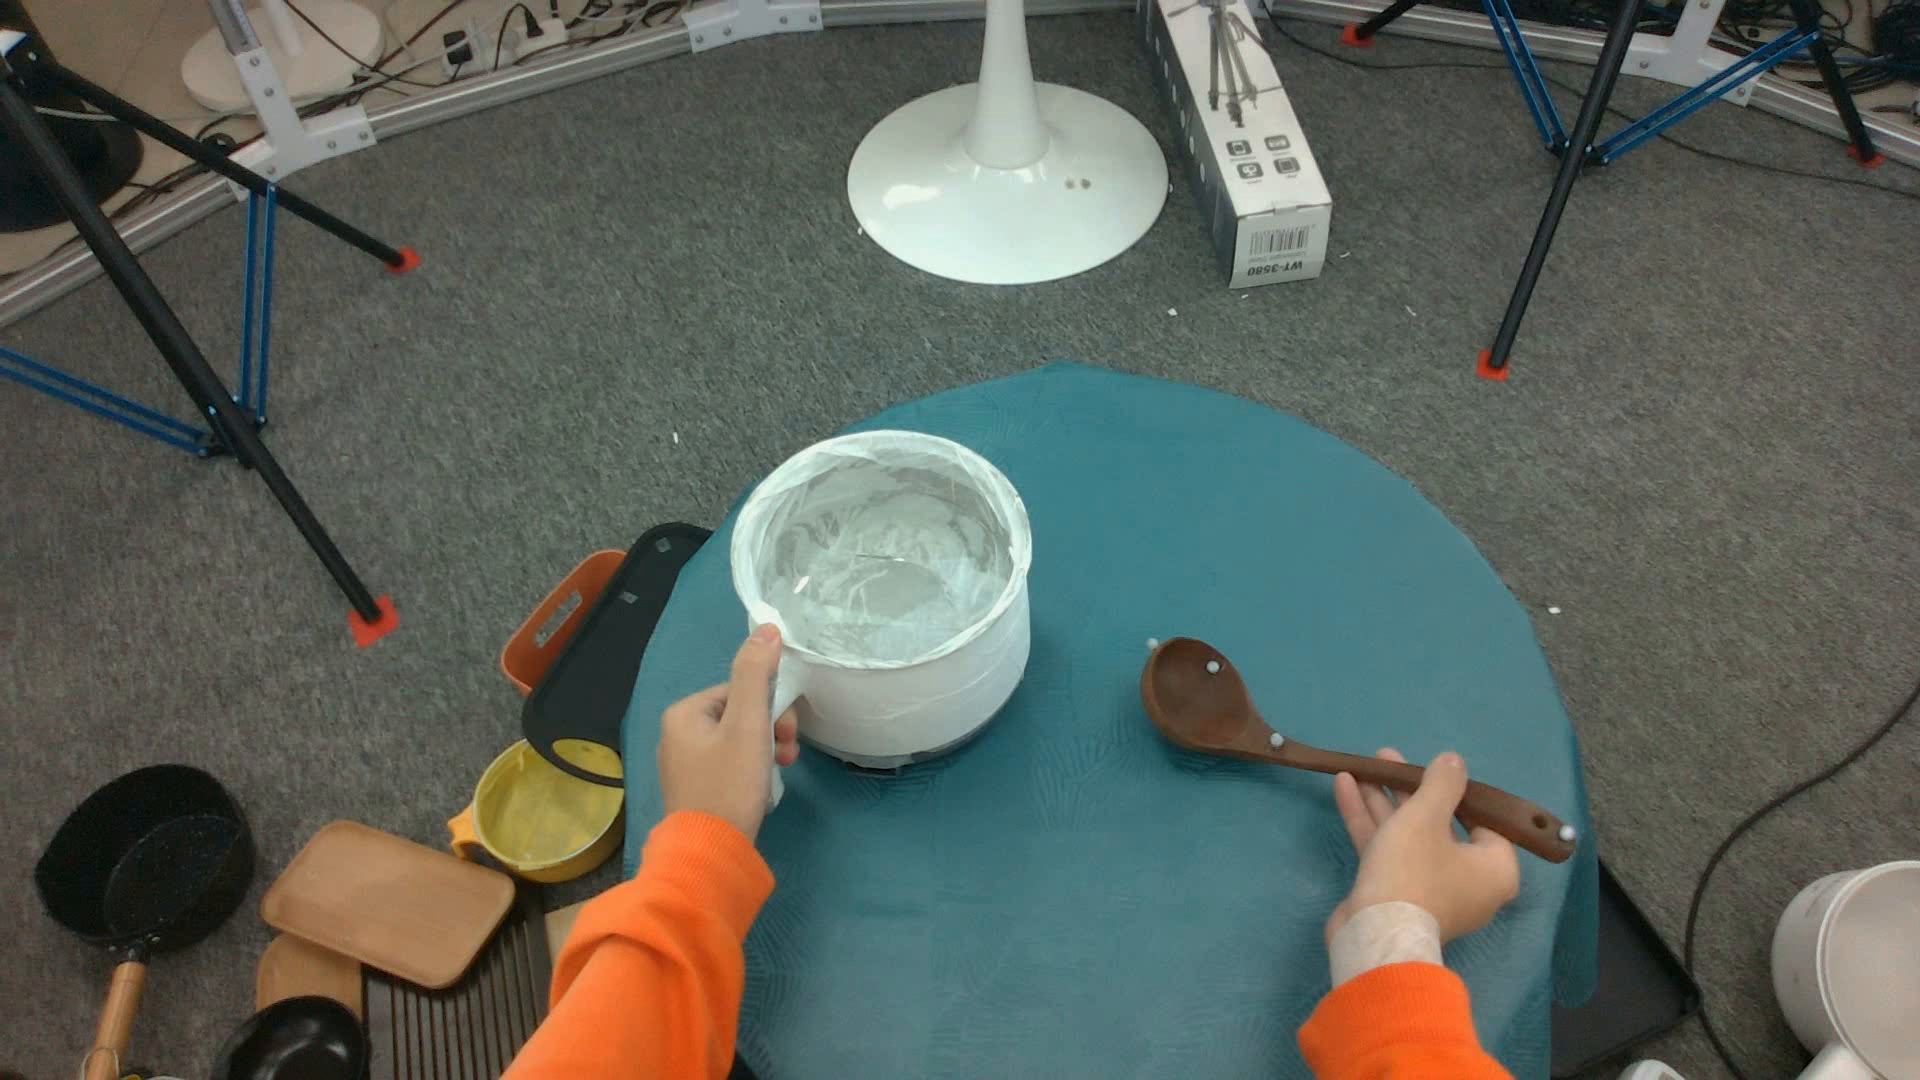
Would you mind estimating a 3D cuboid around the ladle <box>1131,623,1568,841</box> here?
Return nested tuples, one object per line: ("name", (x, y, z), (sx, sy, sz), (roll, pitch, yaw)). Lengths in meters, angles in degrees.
("ladle", (0.222, 0.111, 0.808), (0.260, 0.065, 0.077), (15, 46, 31))

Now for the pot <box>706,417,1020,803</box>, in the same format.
("pot", (-0.068, 0.050, 0.837), (0.178, 0.136, 0.235), (28, 58, 22))
